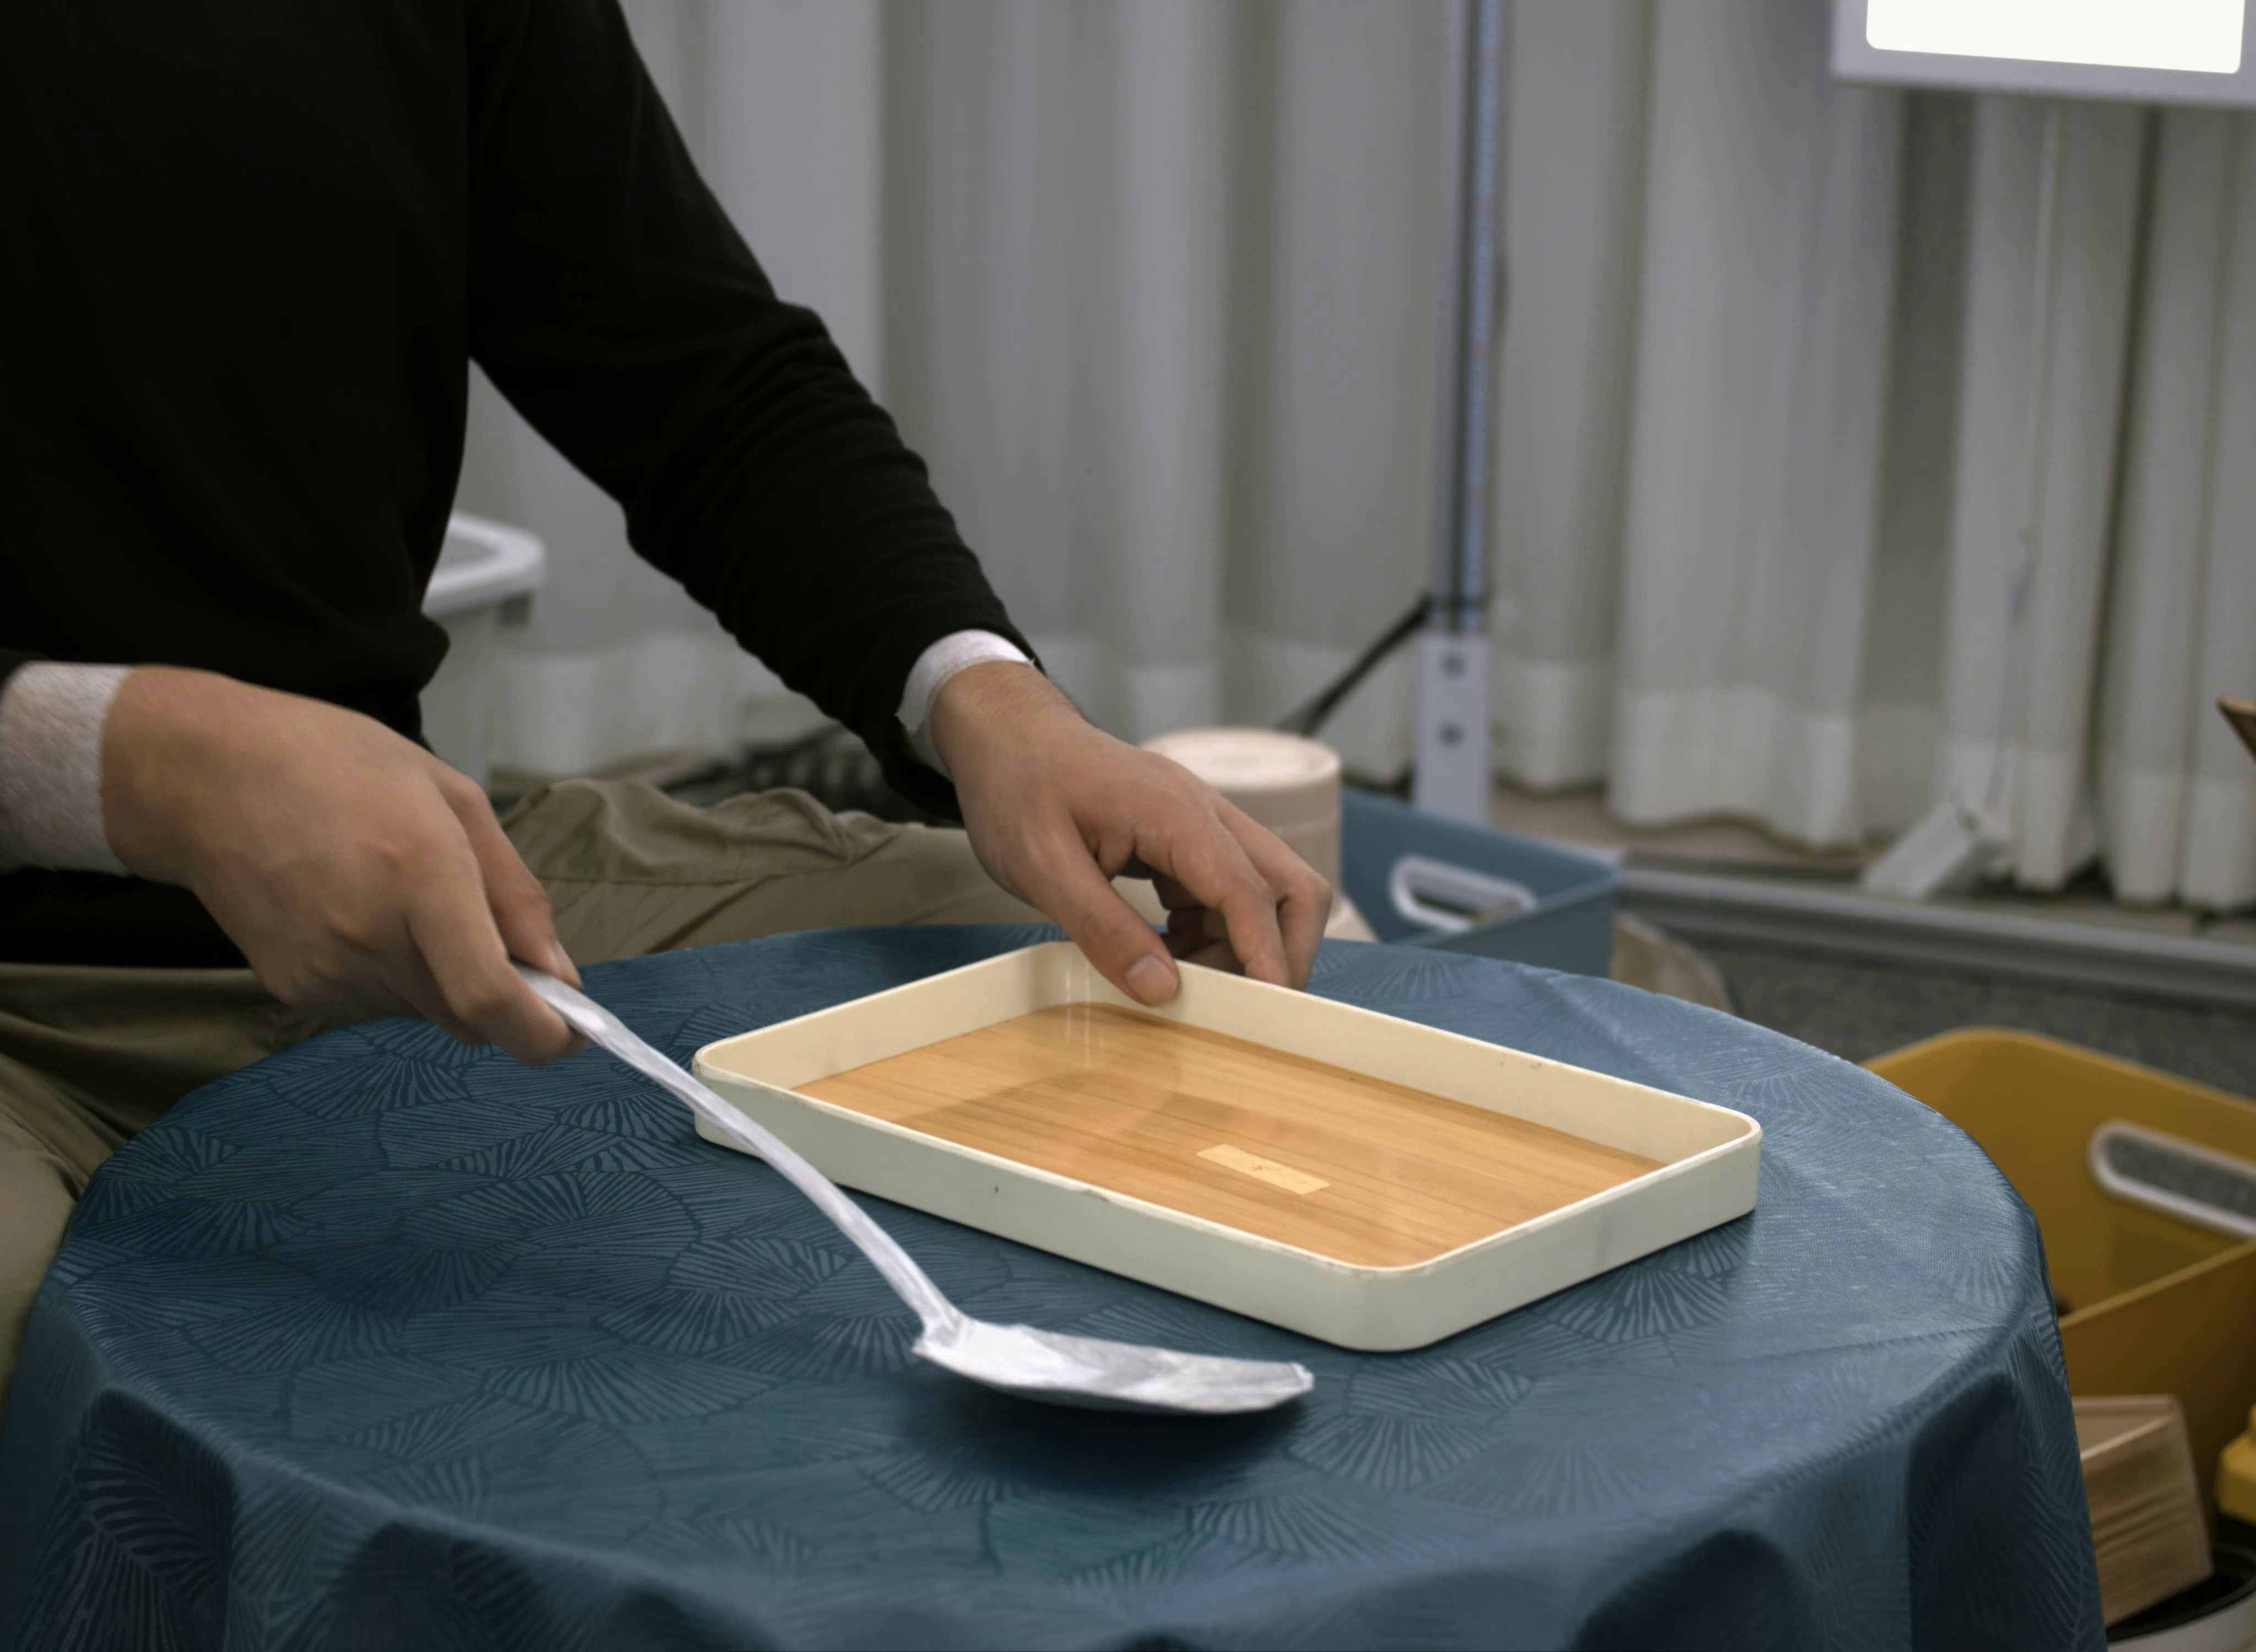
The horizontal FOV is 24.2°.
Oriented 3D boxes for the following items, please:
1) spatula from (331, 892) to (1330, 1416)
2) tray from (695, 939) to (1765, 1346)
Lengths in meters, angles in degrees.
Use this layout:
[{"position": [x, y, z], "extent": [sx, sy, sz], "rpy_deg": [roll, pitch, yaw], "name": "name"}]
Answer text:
[{"position": [-0.103, 0.087, 1.495], "extent": [0.360, 0.045, 0.099], "rpy_deg": [33, 16, 27], "name": "spatula"}, {"position": [0.028, 0.094, 1.638], "extent": [0.296, 0.027, 0.192], "rpy_deg": [14, 21, 41], "name": "tray"}]
